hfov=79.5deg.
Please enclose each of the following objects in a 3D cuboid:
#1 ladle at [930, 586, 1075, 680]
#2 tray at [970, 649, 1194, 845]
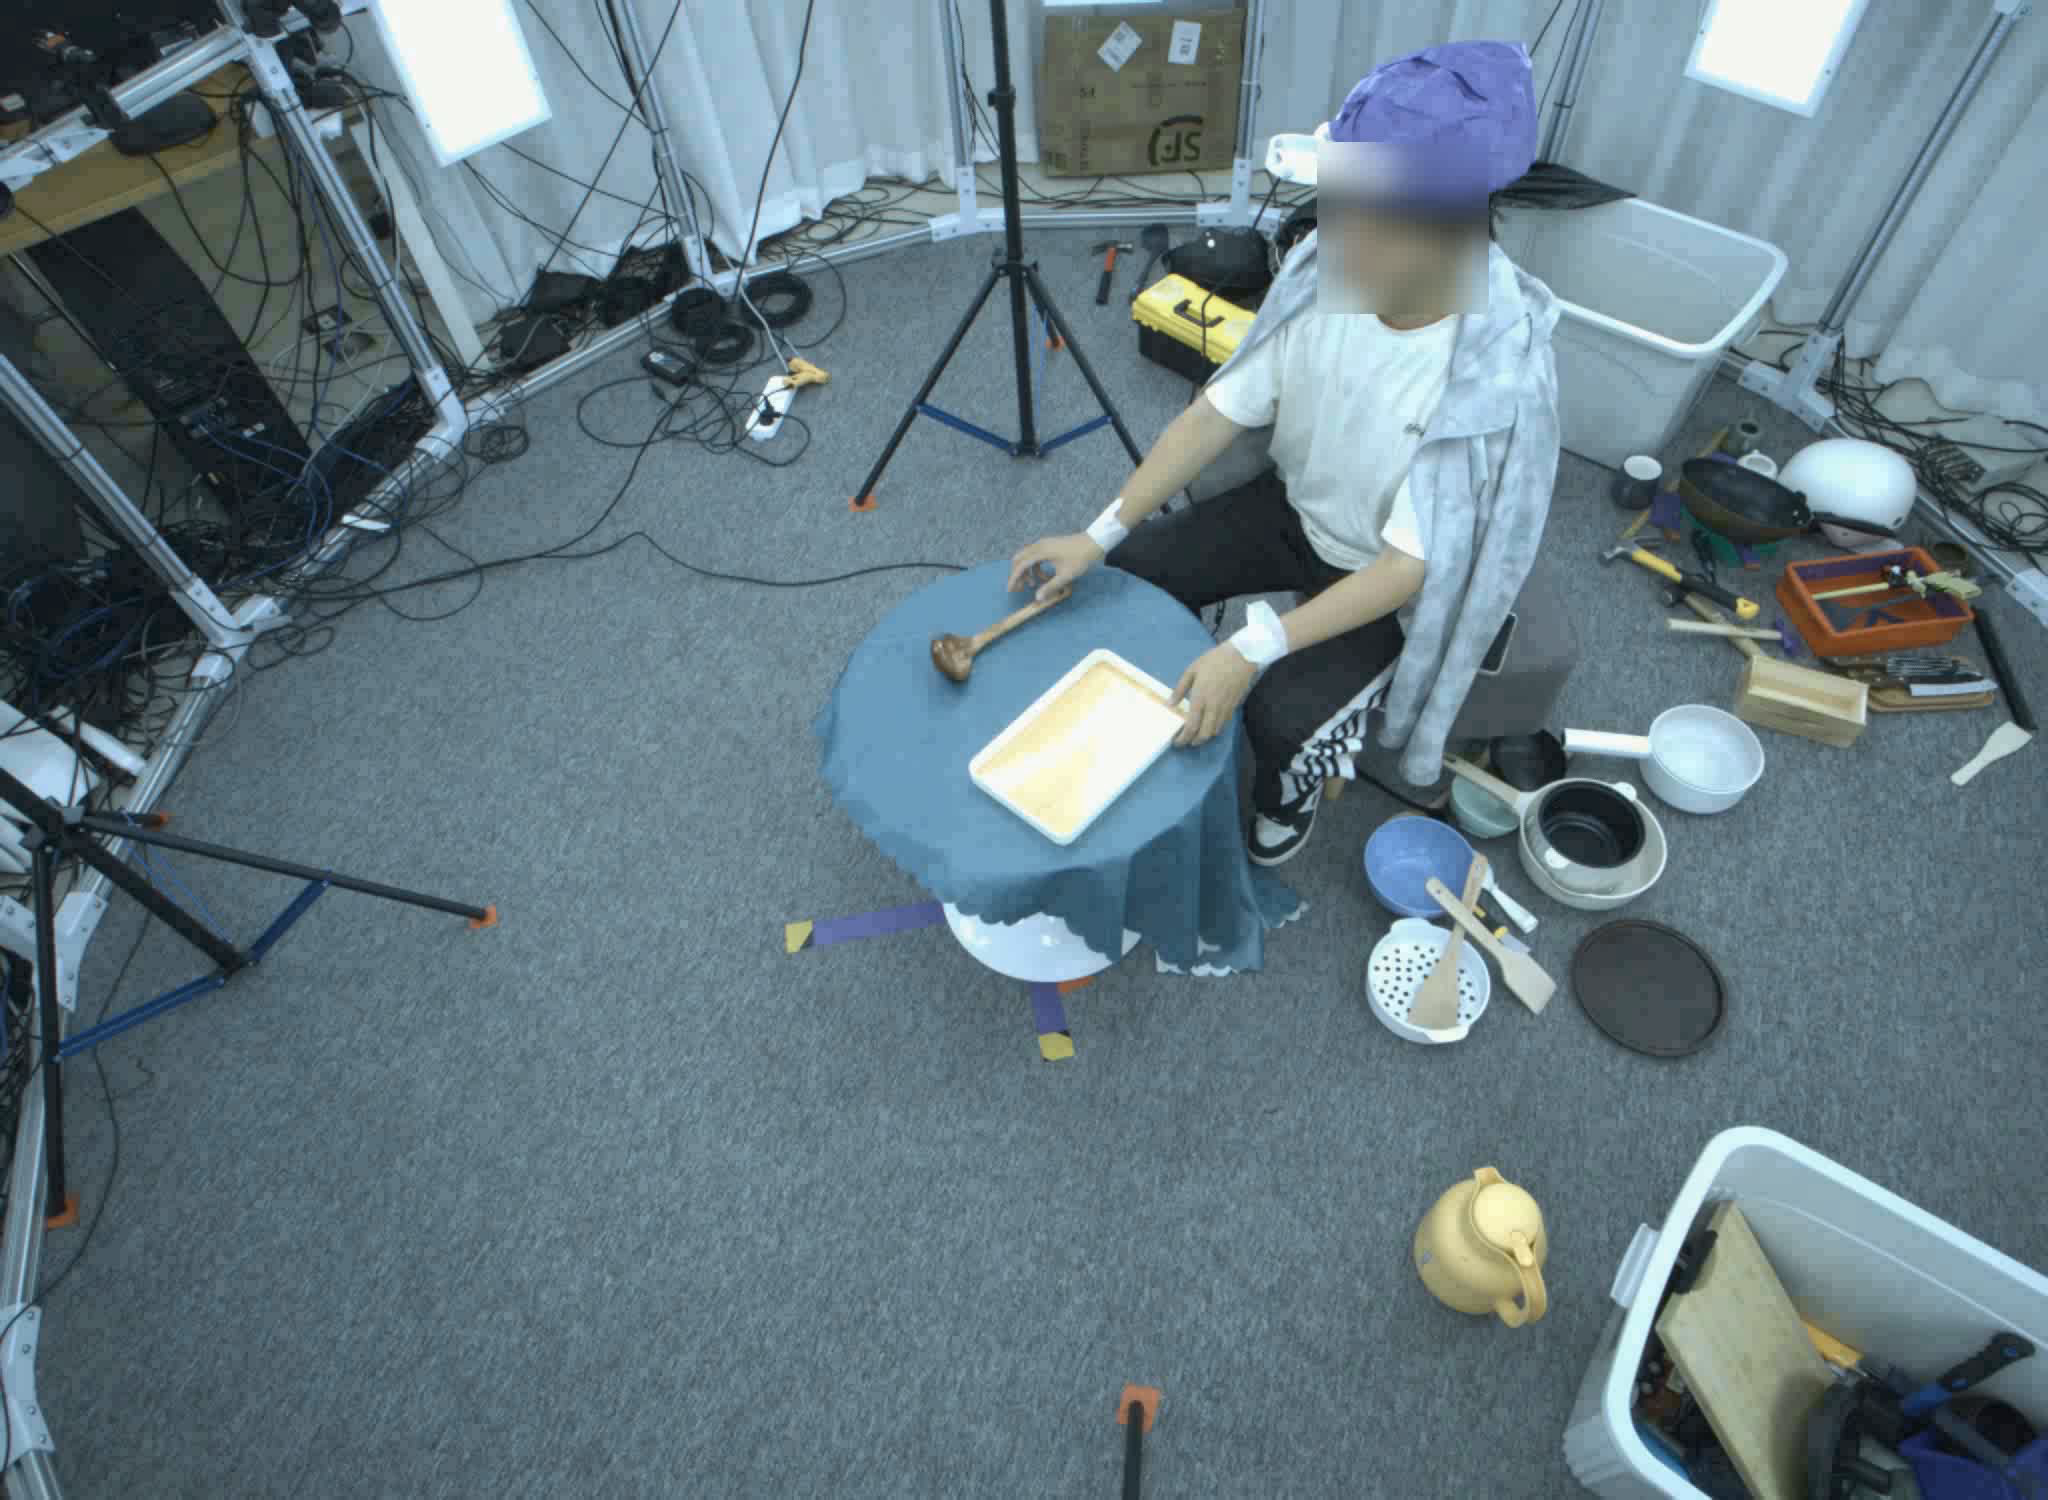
[{"bbox_3d":[-0.026,-0.194,1.884,0.276,0.075,0.082,-31,99,-20],"label":"ladle"},{"bbox_3d":[0.086,-0.010,1.777,0.188,0.028,0.302,36,63,24],"label":"tray"}]
